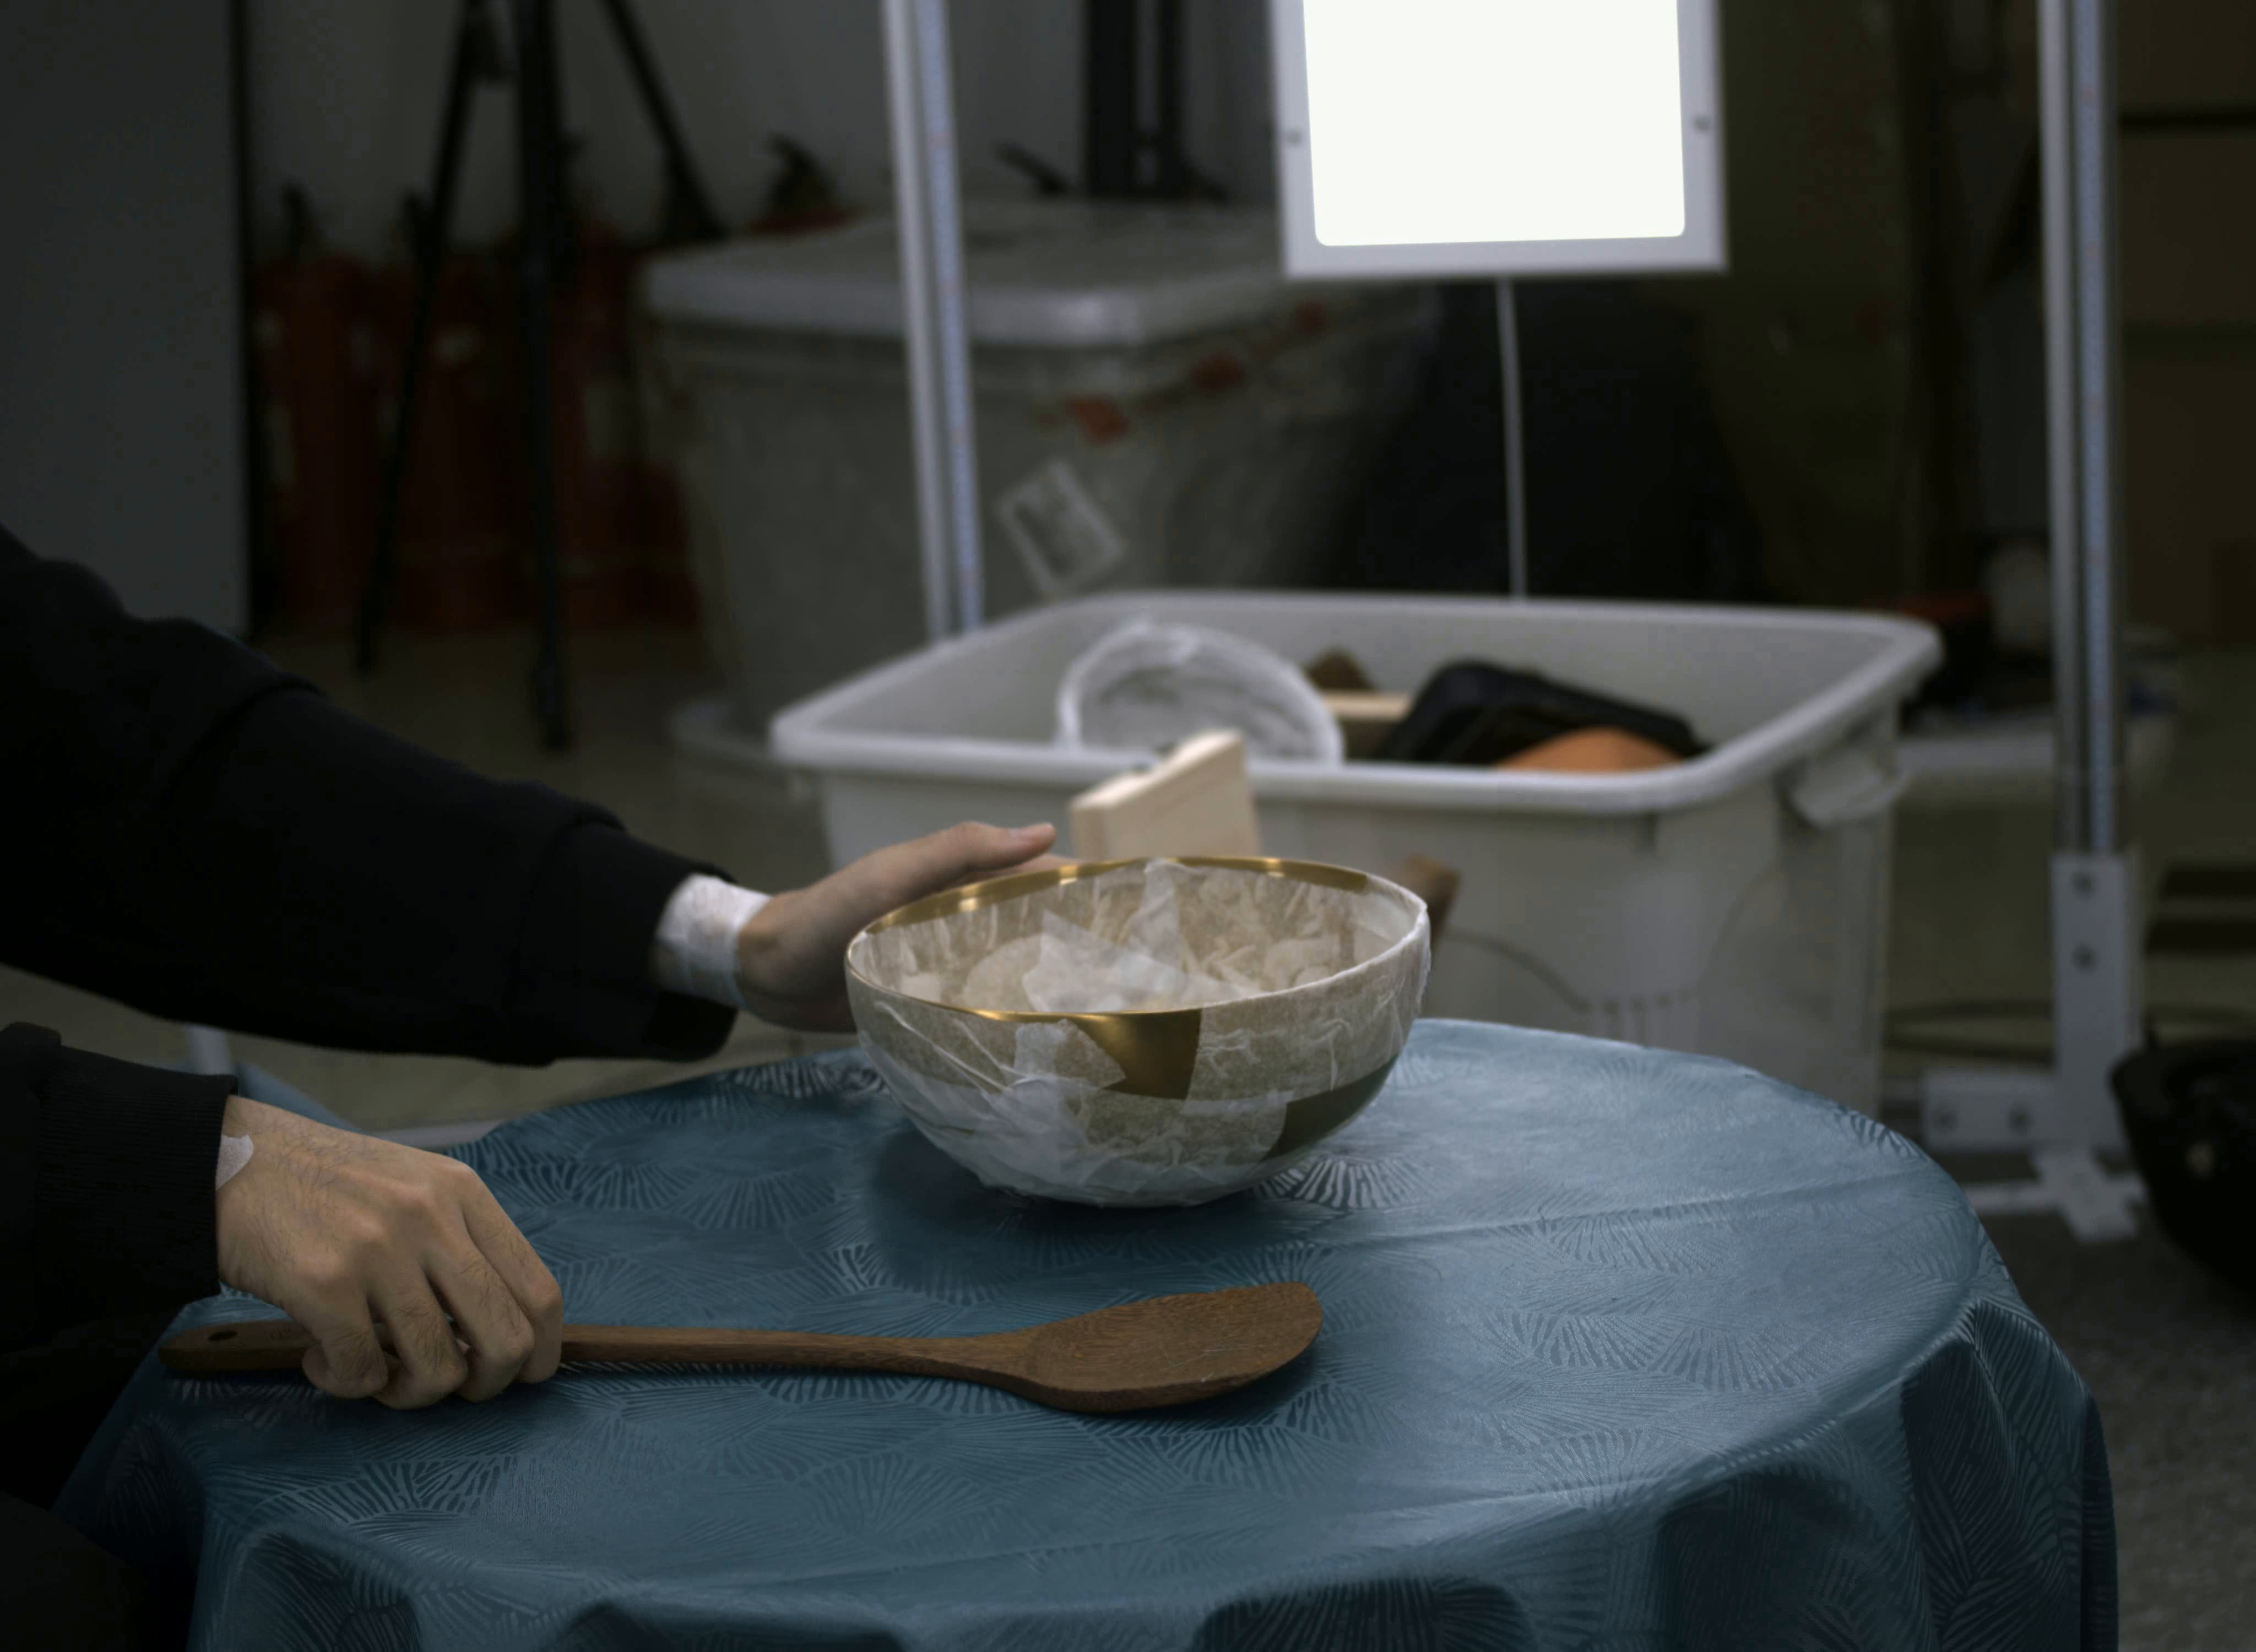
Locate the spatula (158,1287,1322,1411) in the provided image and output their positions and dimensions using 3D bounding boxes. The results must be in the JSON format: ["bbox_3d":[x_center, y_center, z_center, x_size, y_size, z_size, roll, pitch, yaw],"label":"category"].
[{"bbox_3d":[-0.128,0.166,1.753,0.389,0.016,0.095,-1,14,15],"label":"spatula"}]

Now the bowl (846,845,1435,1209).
[{"bbox_3d":[0.005,0.077,1.901,0.214,0.095,0.214,-6,15,0],"label":"bowl"}]
